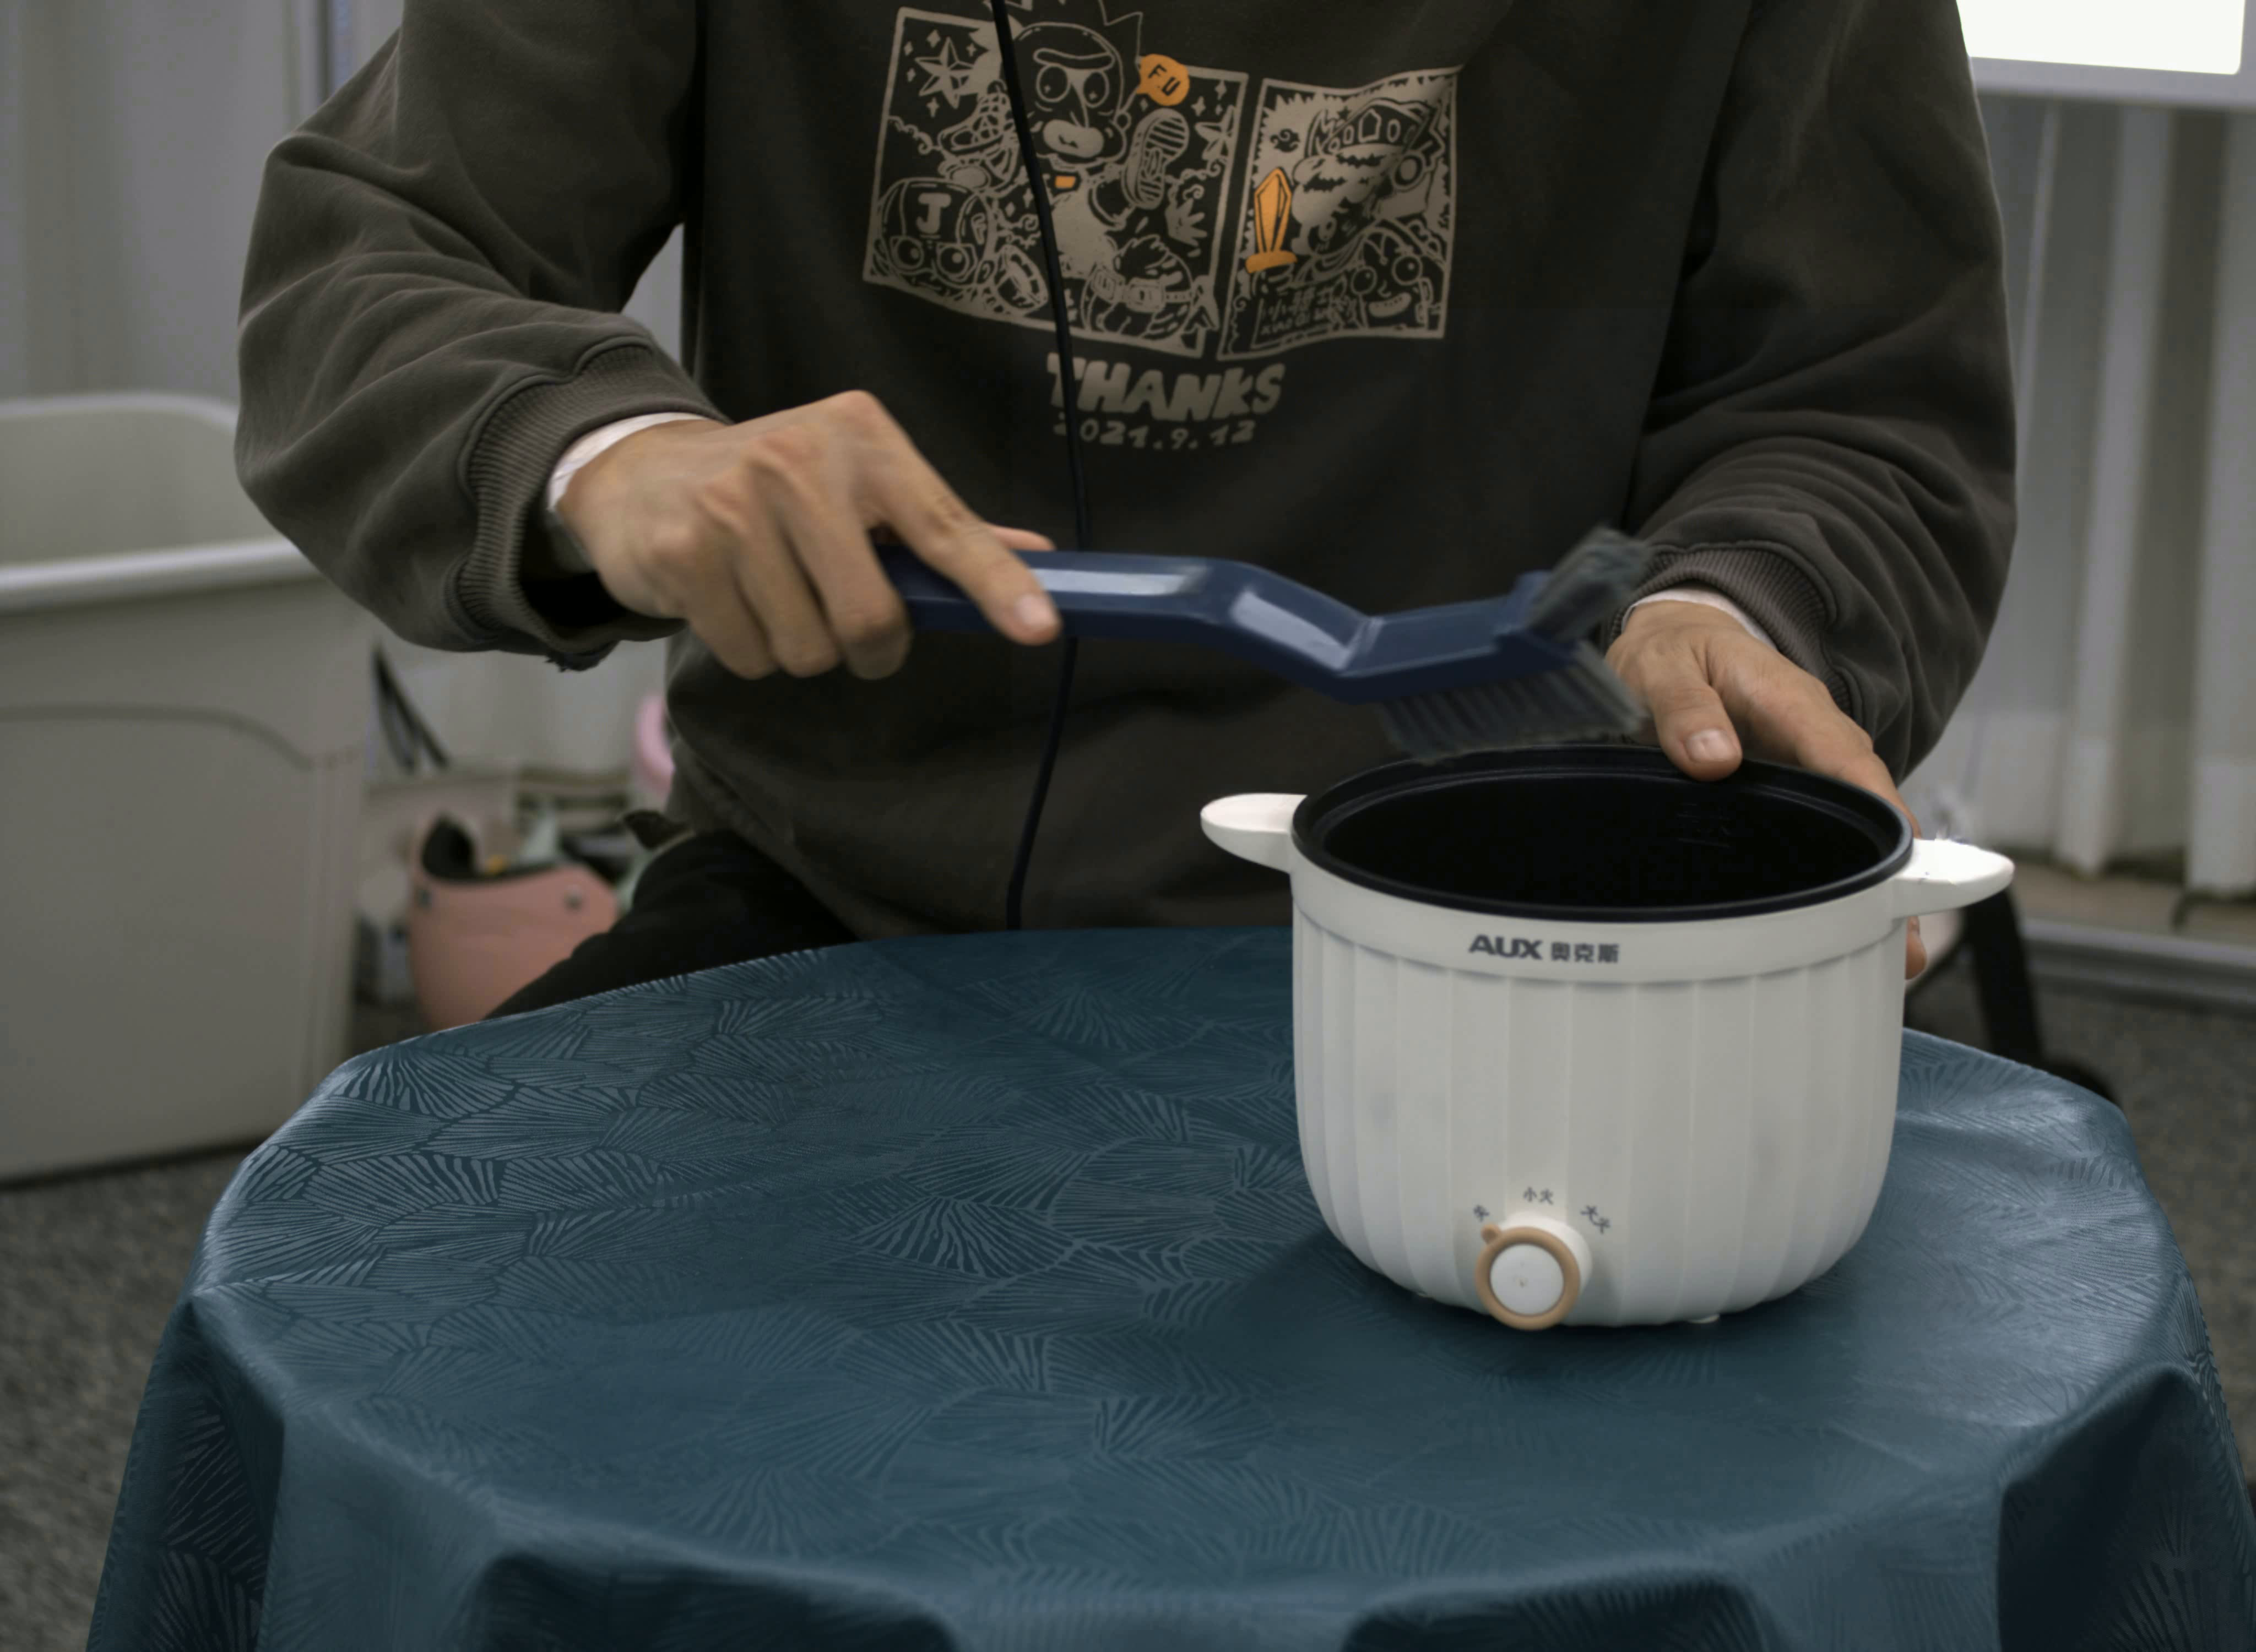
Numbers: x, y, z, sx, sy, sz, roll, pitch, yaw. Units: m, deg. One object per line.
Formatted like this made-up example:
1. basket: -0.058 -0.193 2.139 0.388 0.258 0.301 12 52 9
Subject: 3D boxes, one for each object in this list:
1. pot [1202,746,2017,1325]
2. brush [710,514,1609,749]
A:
1. pot: 0.138 0.064 1.548 0.238 0.143 0.190 3 13 14
2. brush: 0.004 -0.068 1.447 0.270 0.097 0.033 10 53 20
